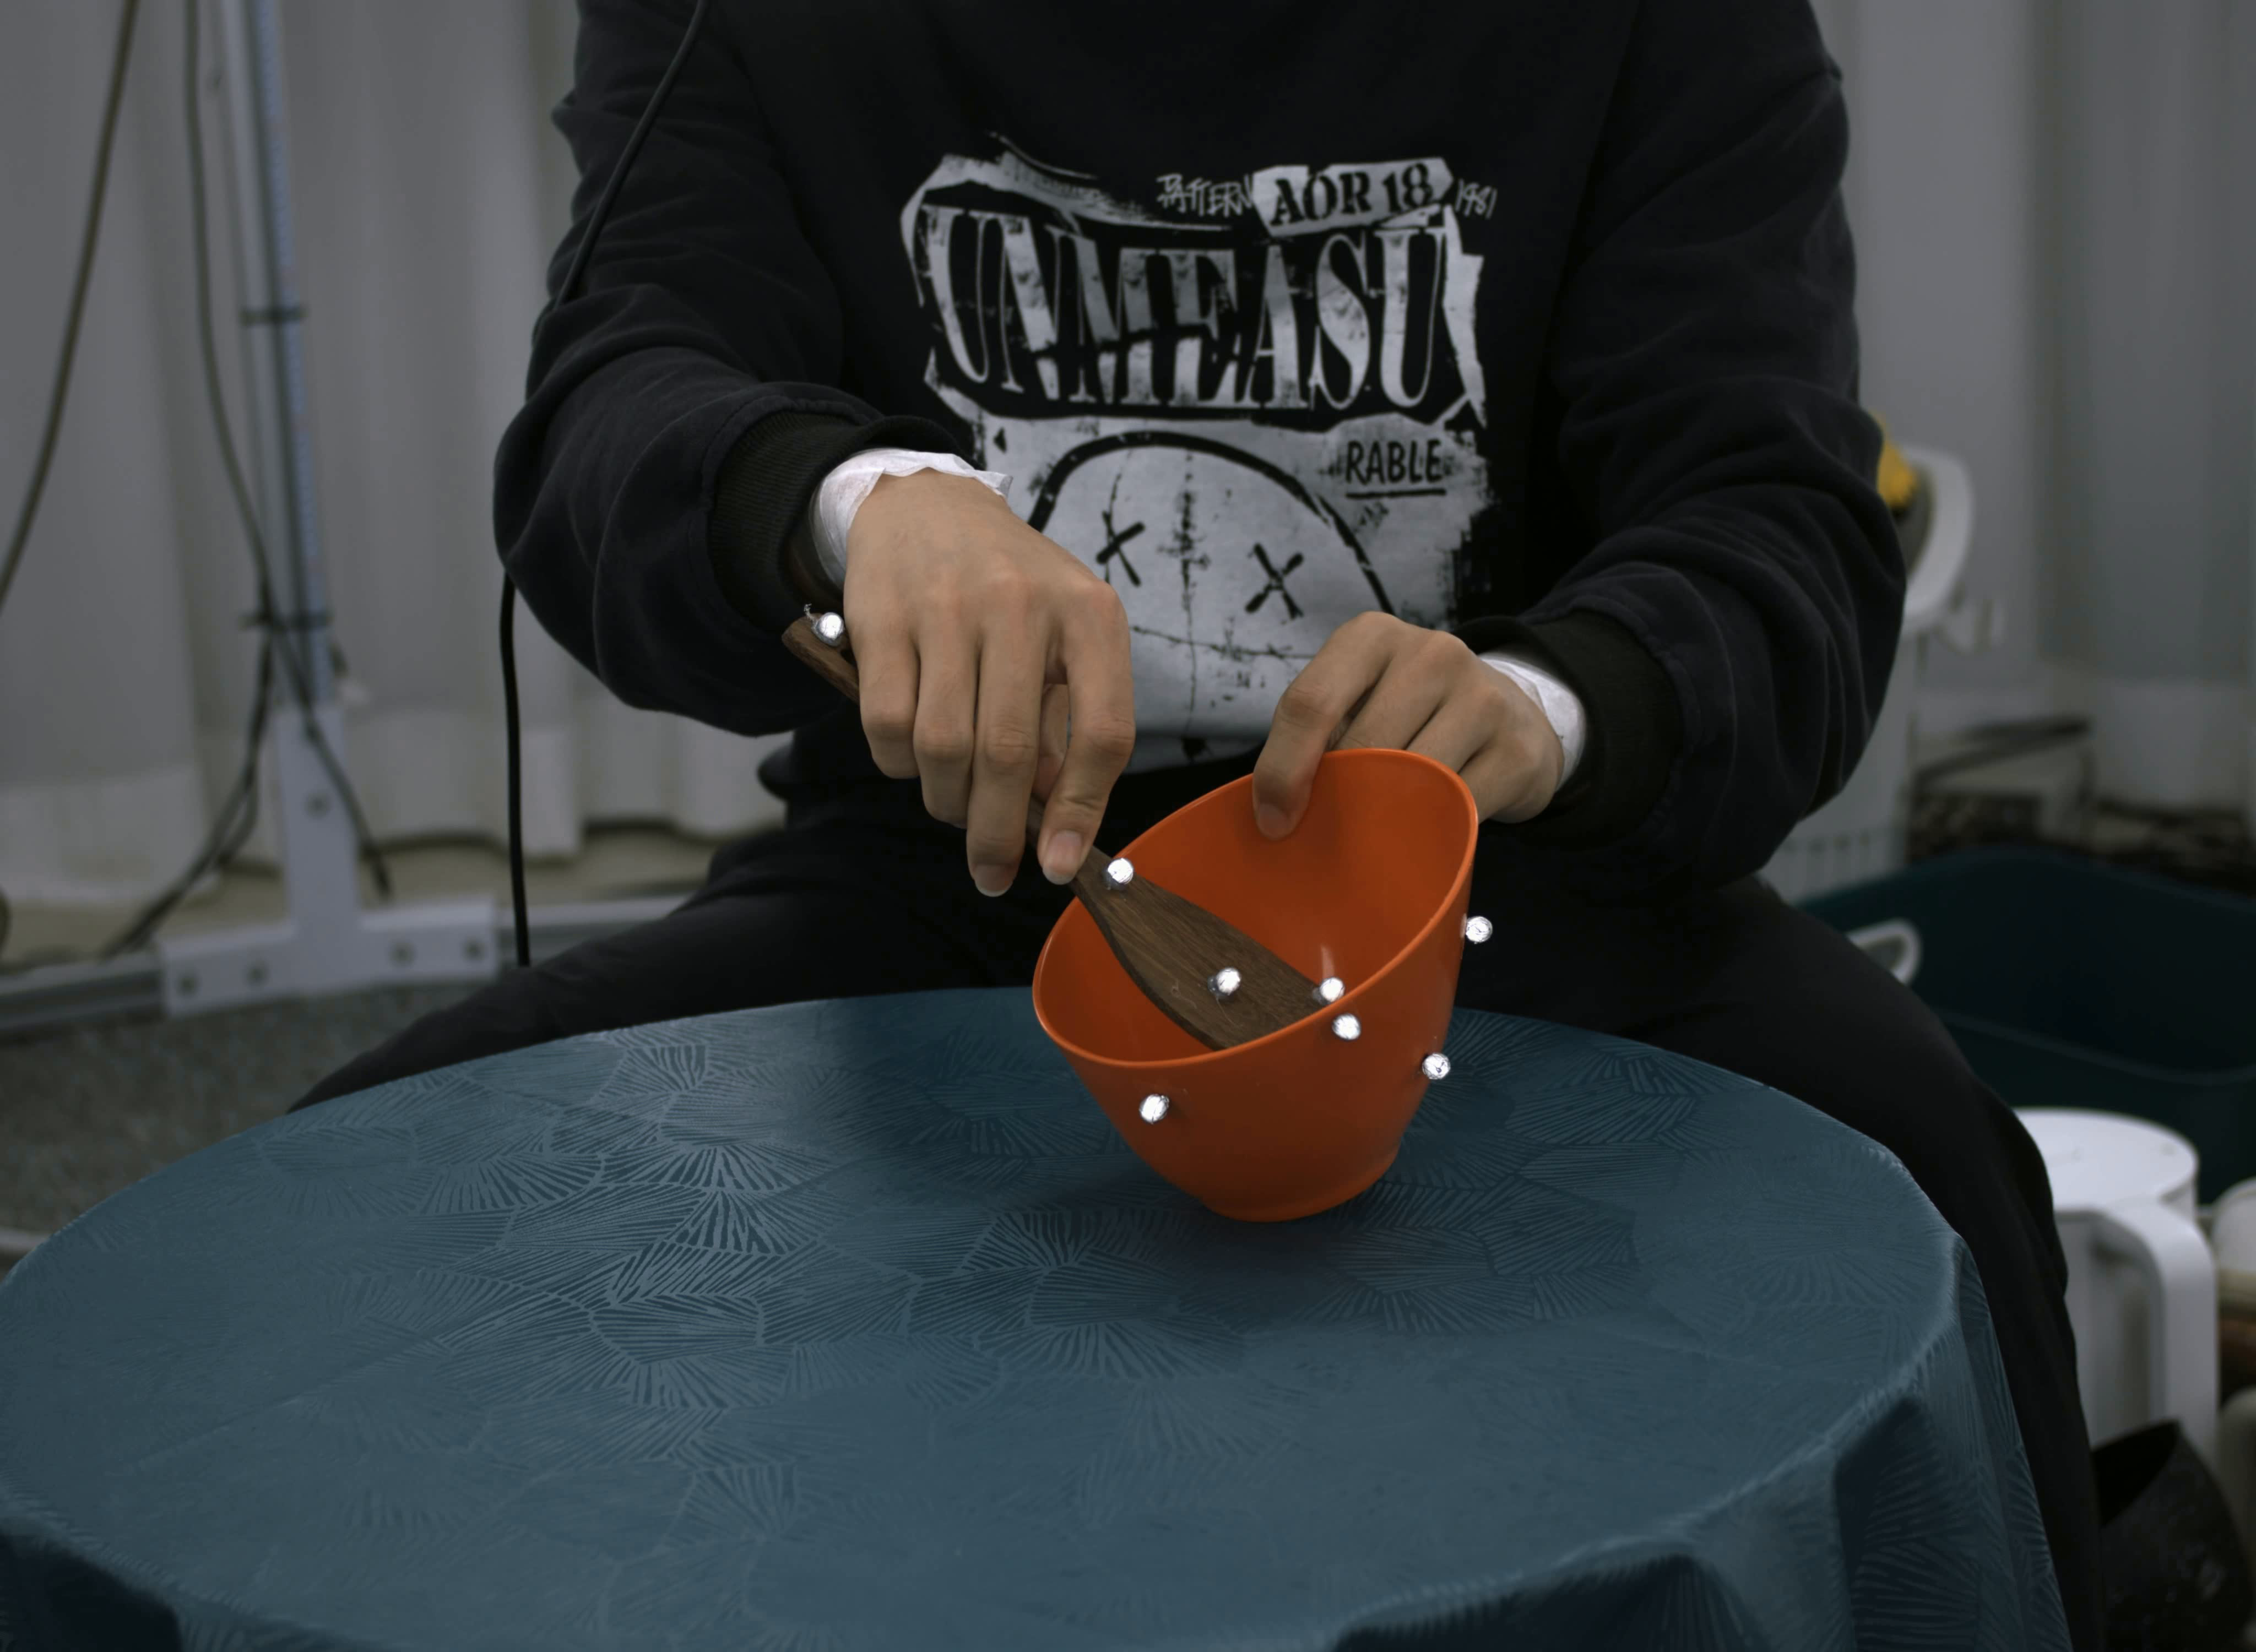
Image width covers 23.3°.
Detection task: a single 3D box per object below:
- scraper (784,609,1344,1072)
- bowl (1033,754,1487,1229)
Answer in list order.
[{"bbox_3d":[-0.023,0.003,1.662,0.212,0.011,0.076,40,25,11],"label":"scraper"},{"bbox_3d":[0.050,0.059,1.680,0.147,0.103,0.150,-13,29,7],"label":"bowl"}]
